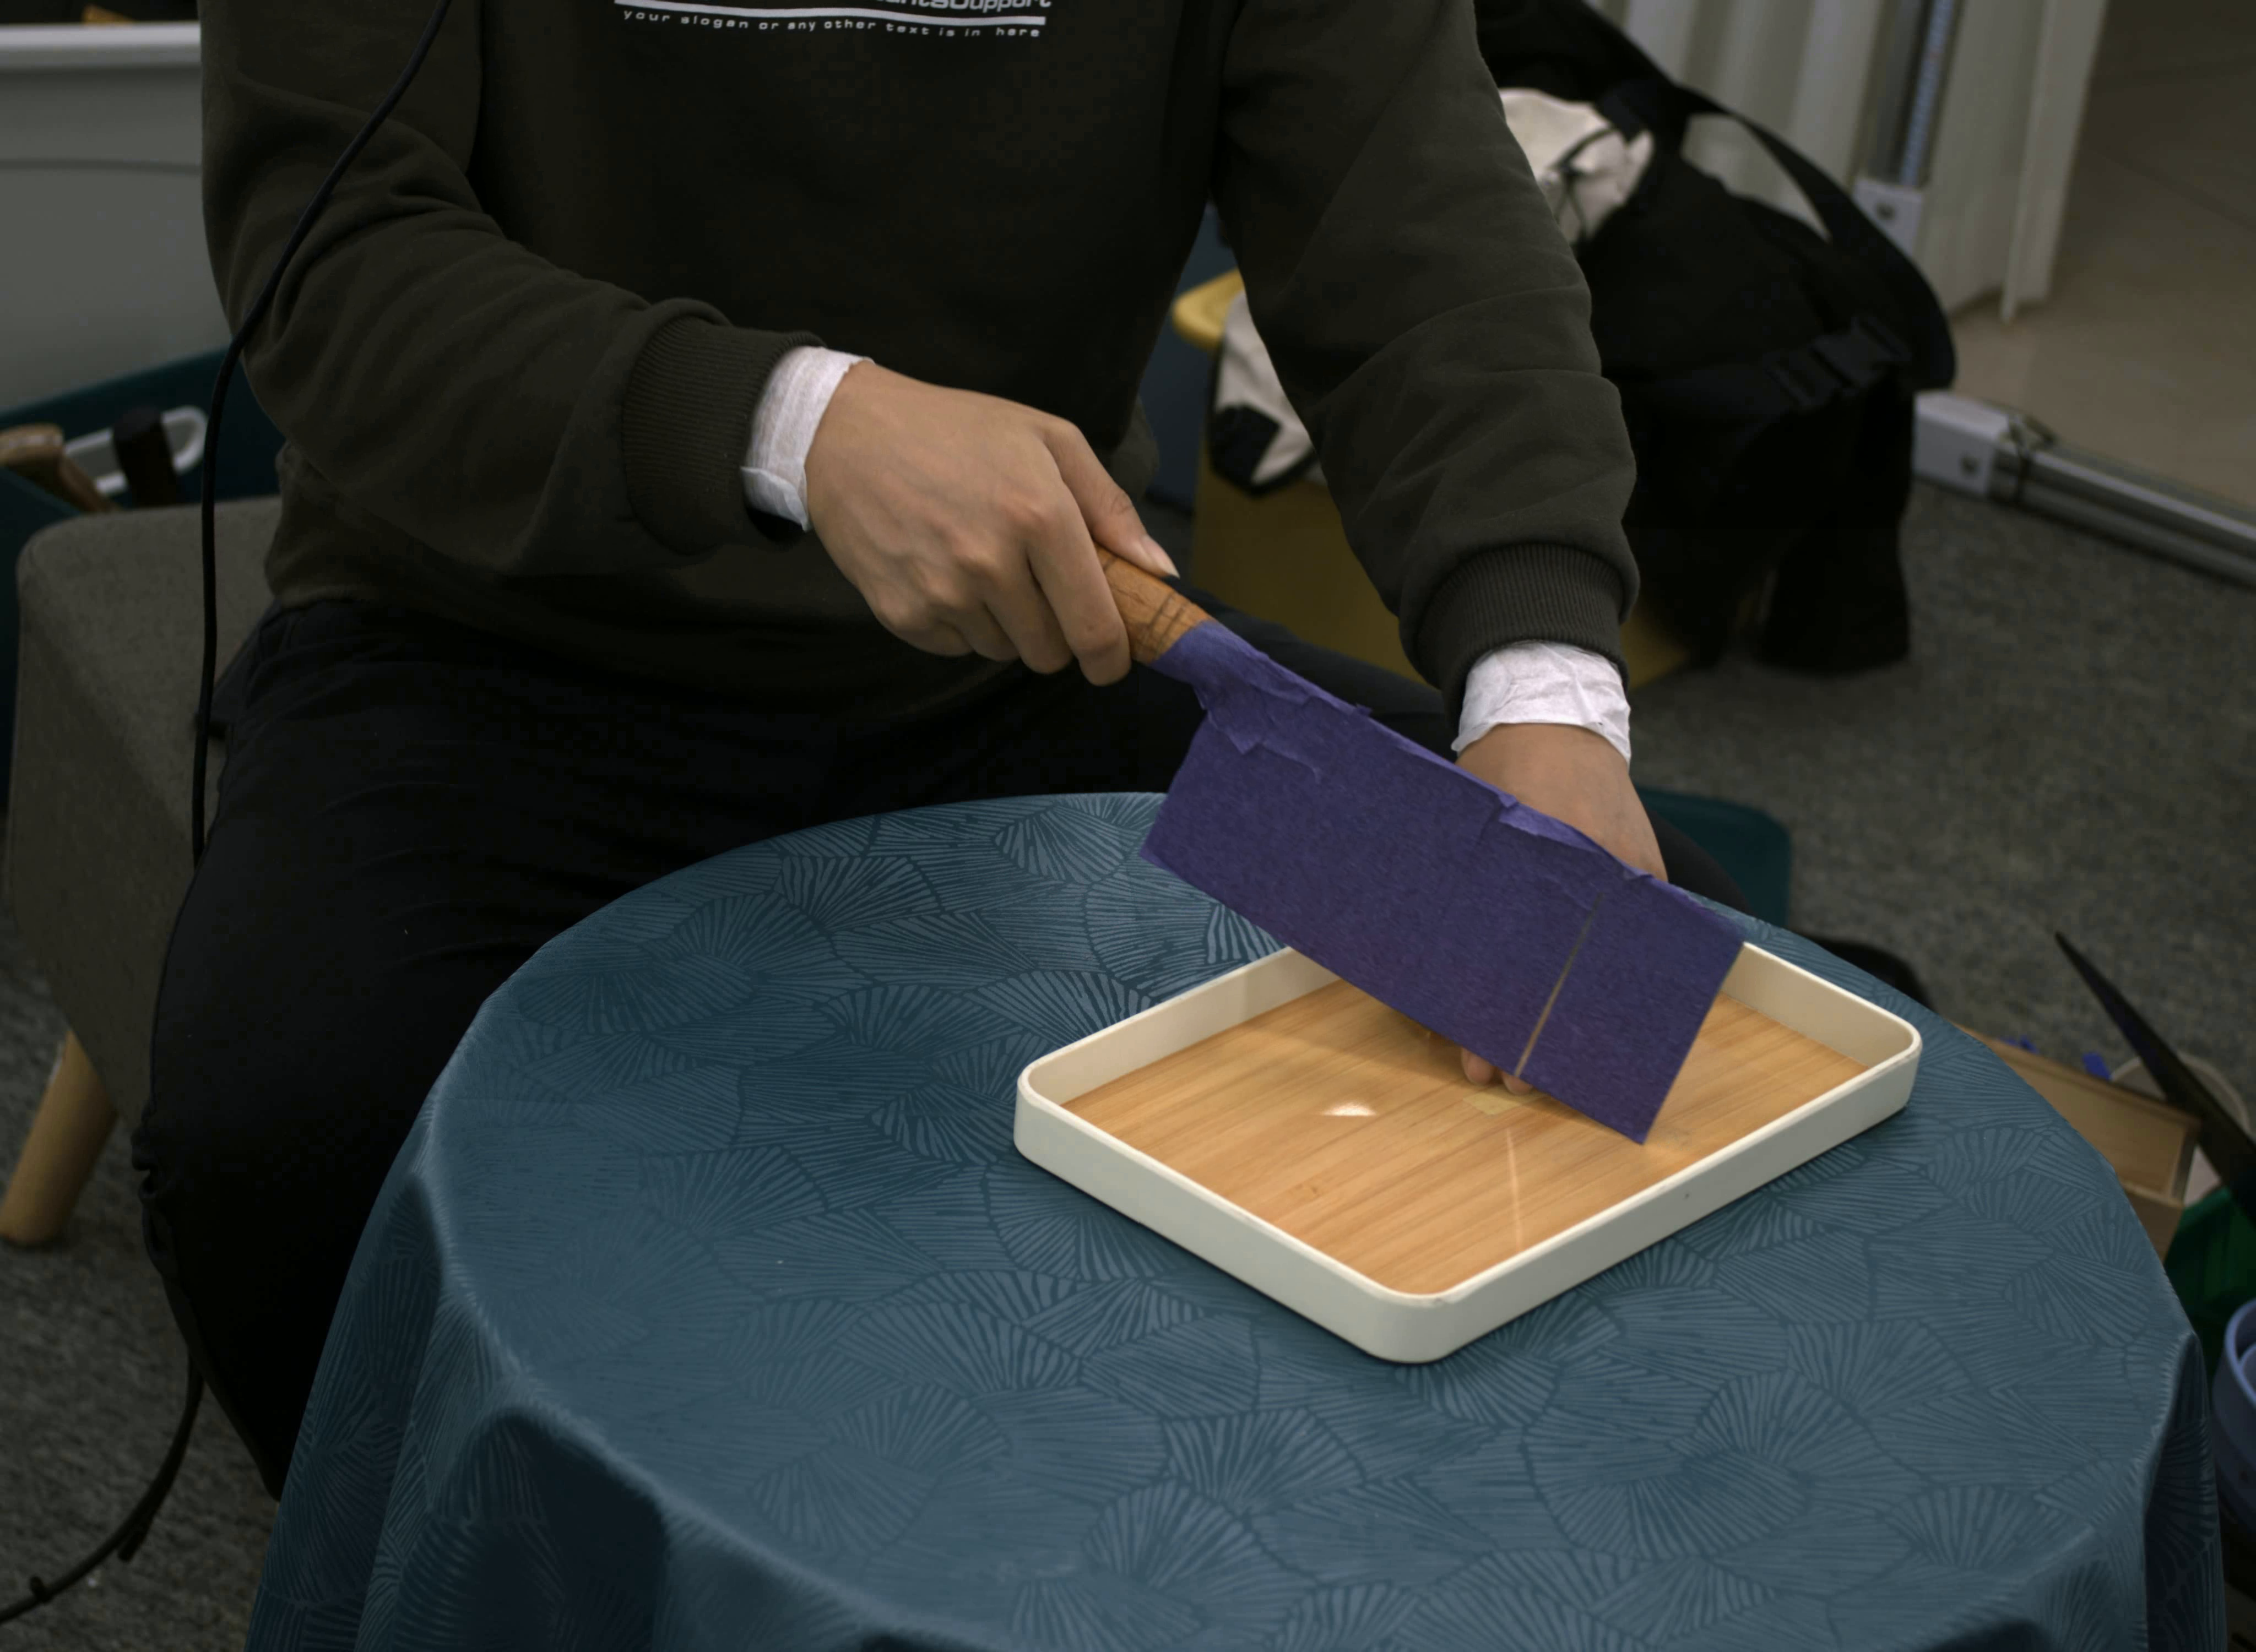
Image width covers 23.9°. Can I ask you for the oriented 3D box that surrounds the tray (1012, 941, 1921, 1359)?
[{"bbox_3d":[0.122,0.091,1.867,0.193,0.027,0.299,27,33,35],"label":"tray"}]

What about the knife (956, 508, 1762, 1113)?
[{"bbox_3d":[0.066,-0.002,1.869,0.316,0.104,0.032,30,20,14],"label":"knife"}]
